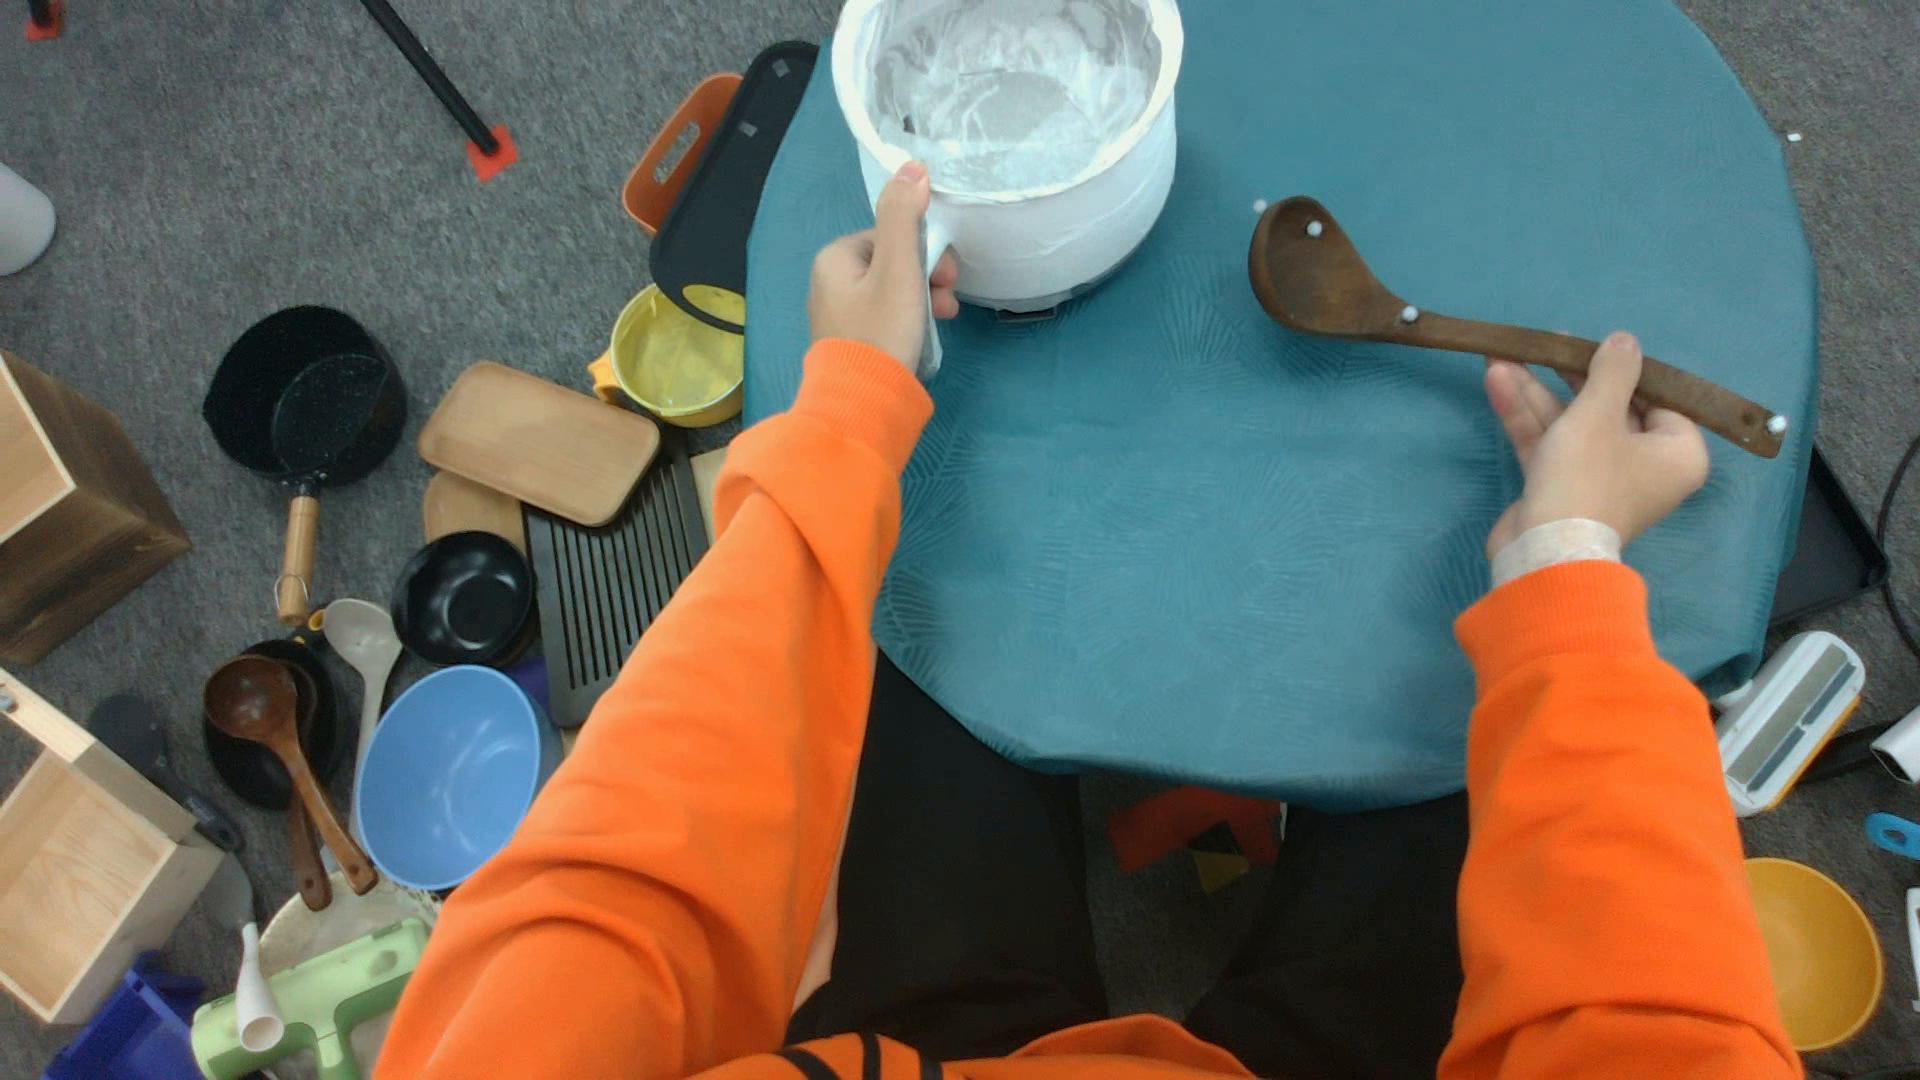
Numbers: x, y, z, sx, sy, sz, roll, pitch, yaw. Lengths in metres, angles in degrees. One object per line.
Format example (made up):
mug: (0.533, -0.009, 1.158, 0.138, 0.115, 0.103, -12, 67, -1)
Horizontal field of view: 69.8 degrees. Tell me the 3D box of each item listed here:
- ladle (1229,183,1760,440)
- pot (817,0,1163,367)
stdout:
ladle: (0.271, -0.118, 0.706, 0.274, 0.071, 0.076, 21, 67, 22)
pot: (0.009, -0.211, 0.751, 0.178, 0.136, 0.234, 24, 76, 14)
